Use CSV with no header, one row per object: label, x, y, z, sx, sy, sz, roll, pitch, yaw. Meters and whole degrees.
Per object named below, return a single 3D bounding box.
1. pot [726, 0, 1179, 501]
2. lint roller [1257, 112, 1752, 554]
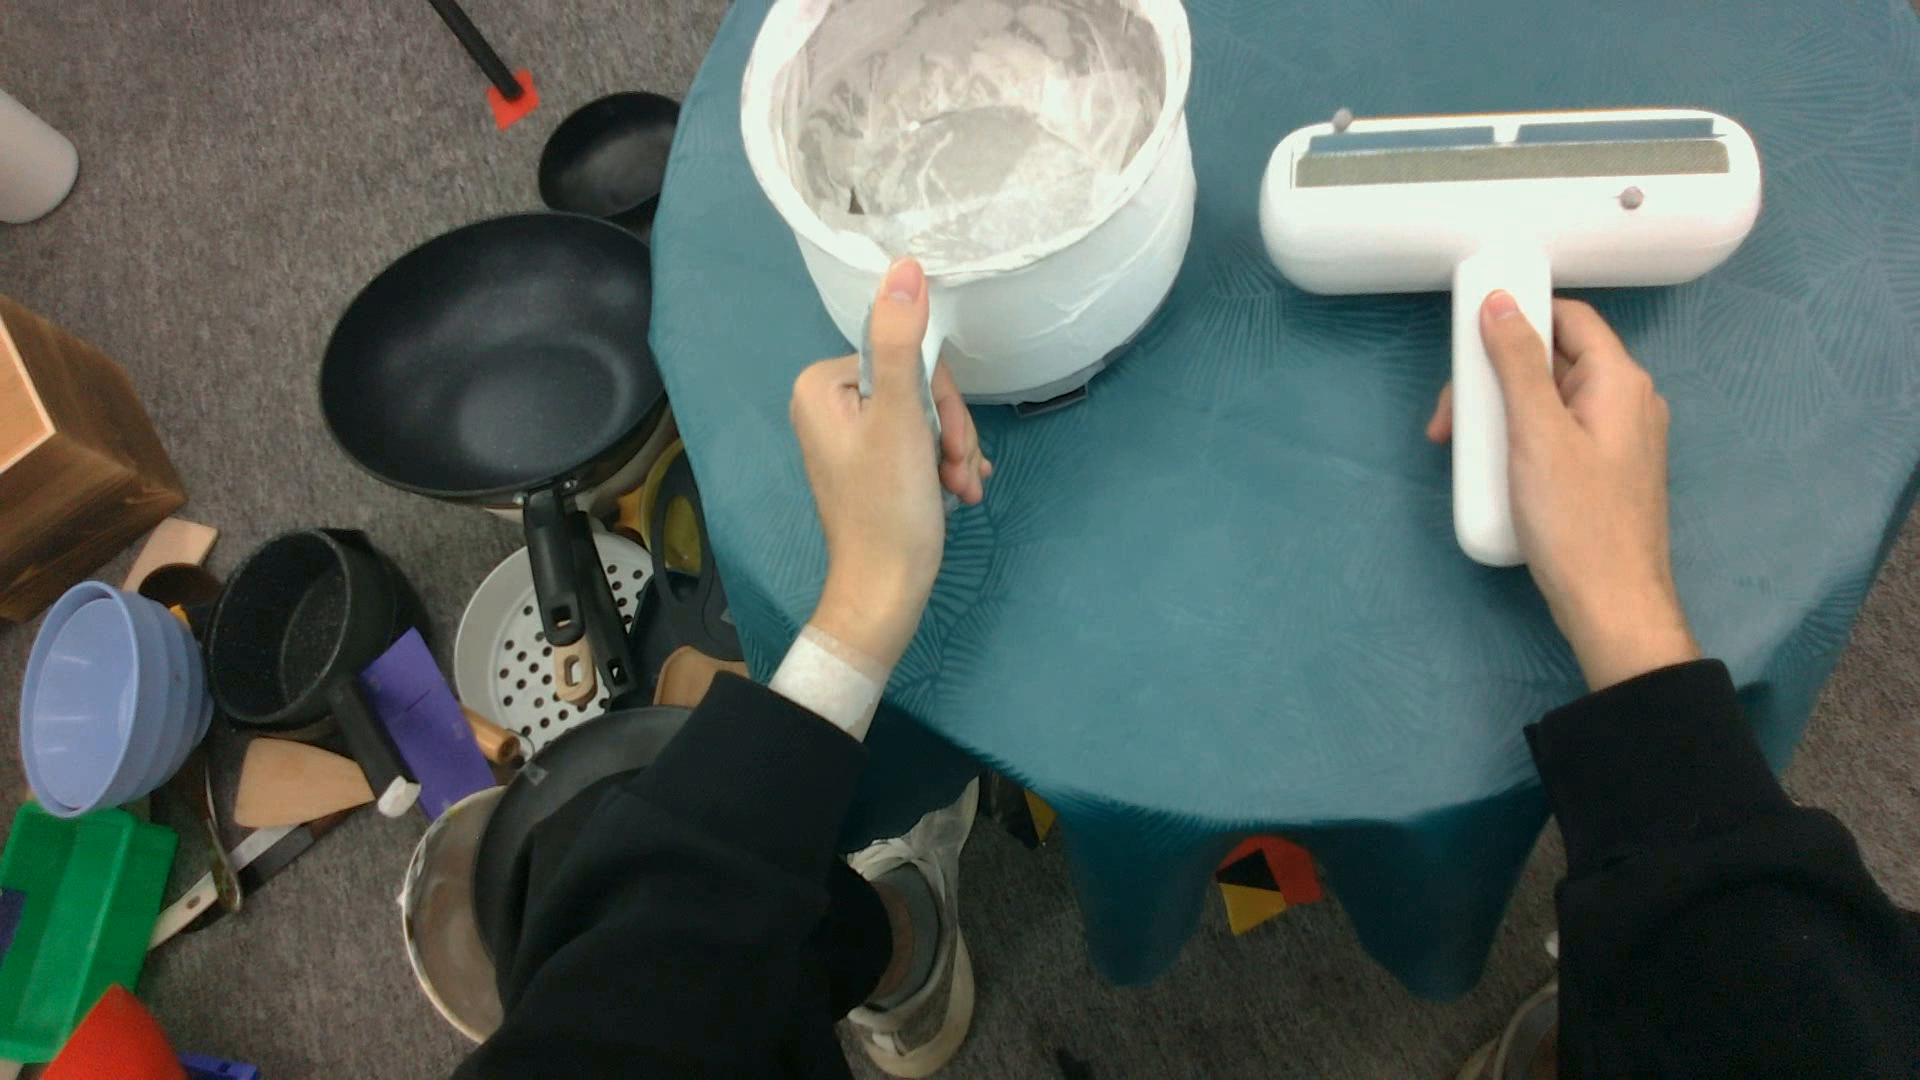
pot,-0.002,-0.139,0.588,0.178,0.136,0.234,10,72,15
lint roller,0.215,-0.090,0.564,0.192,0.074,0.193,5,66,11
